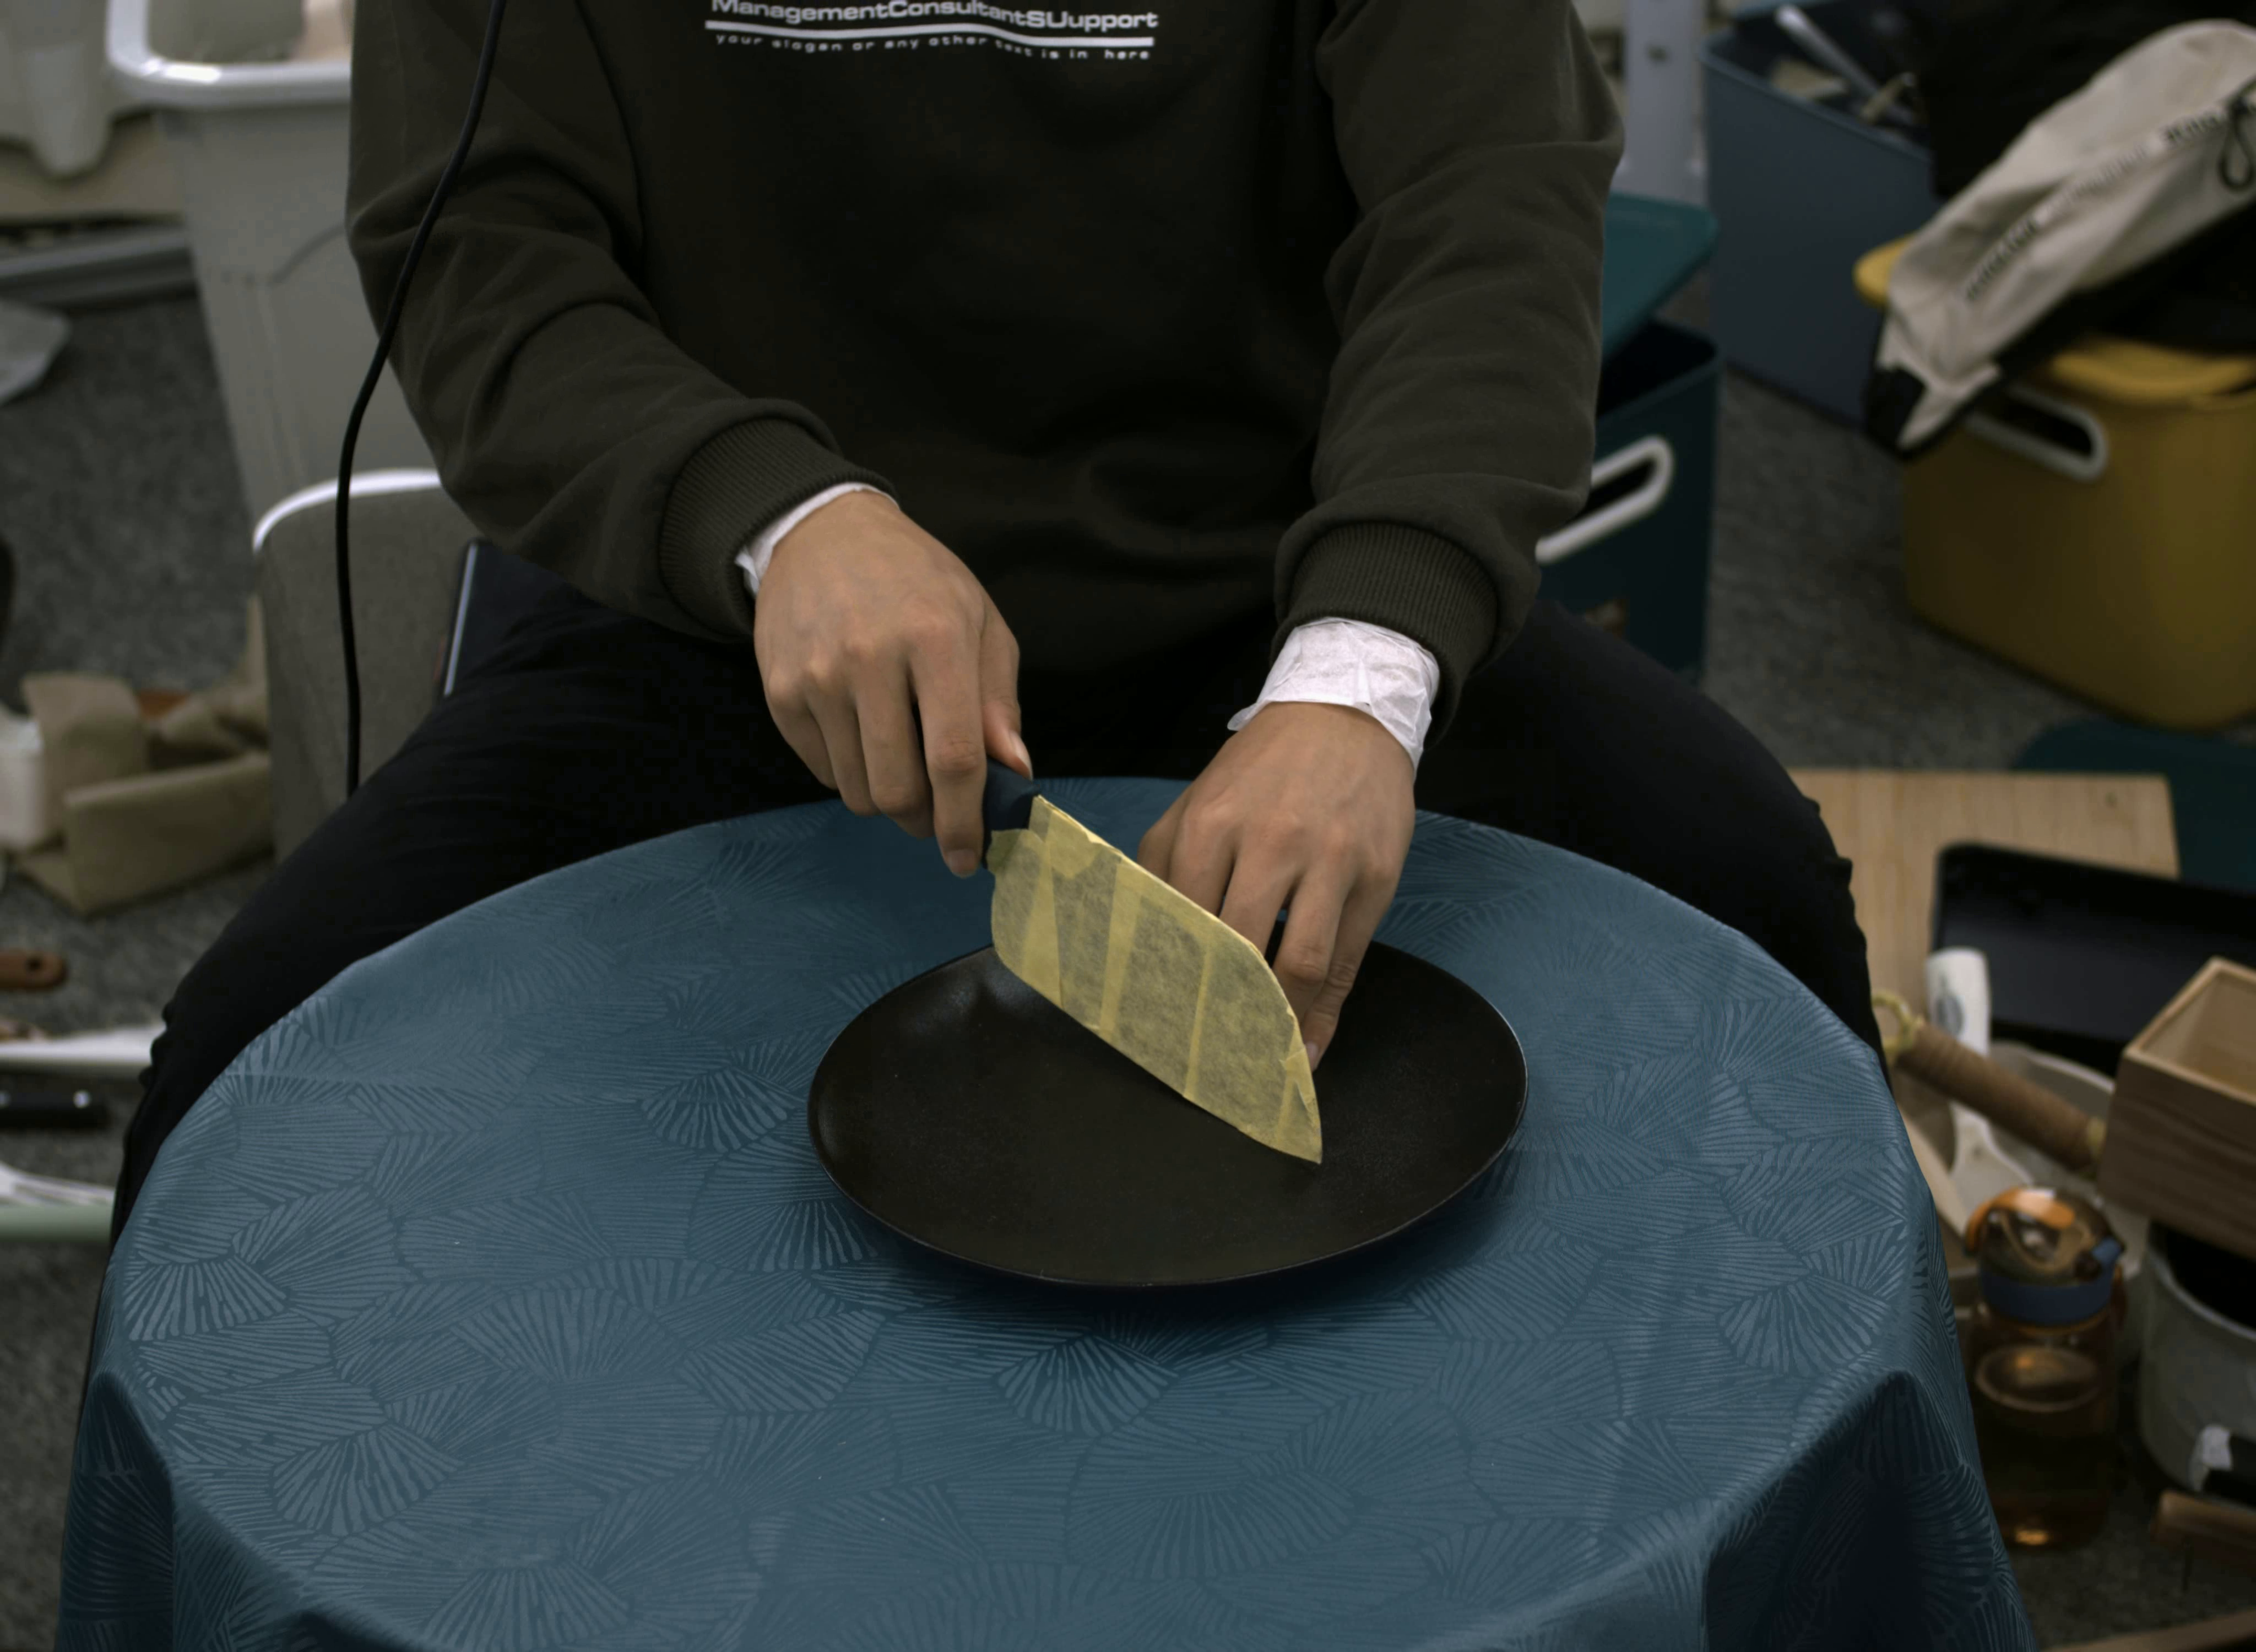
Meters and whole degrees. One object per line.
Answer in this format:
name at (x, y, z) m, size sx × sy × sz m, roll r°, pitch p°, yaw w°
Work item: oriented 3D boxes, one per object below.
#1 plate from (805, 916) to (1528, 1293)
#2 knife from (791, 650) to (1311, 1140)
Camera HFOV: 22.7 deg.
plate at (0.013, 0.097, 1.883) m, size 0.243 × 0.023 × 0.248 m, roll -2°, pitch 27°, yaw 1°
knife at (-0.028, 0.021, 1.932) m, size 0.027 × 0.080 × 0.291 m, roll -12°, pitch 38°, yaw -38°
